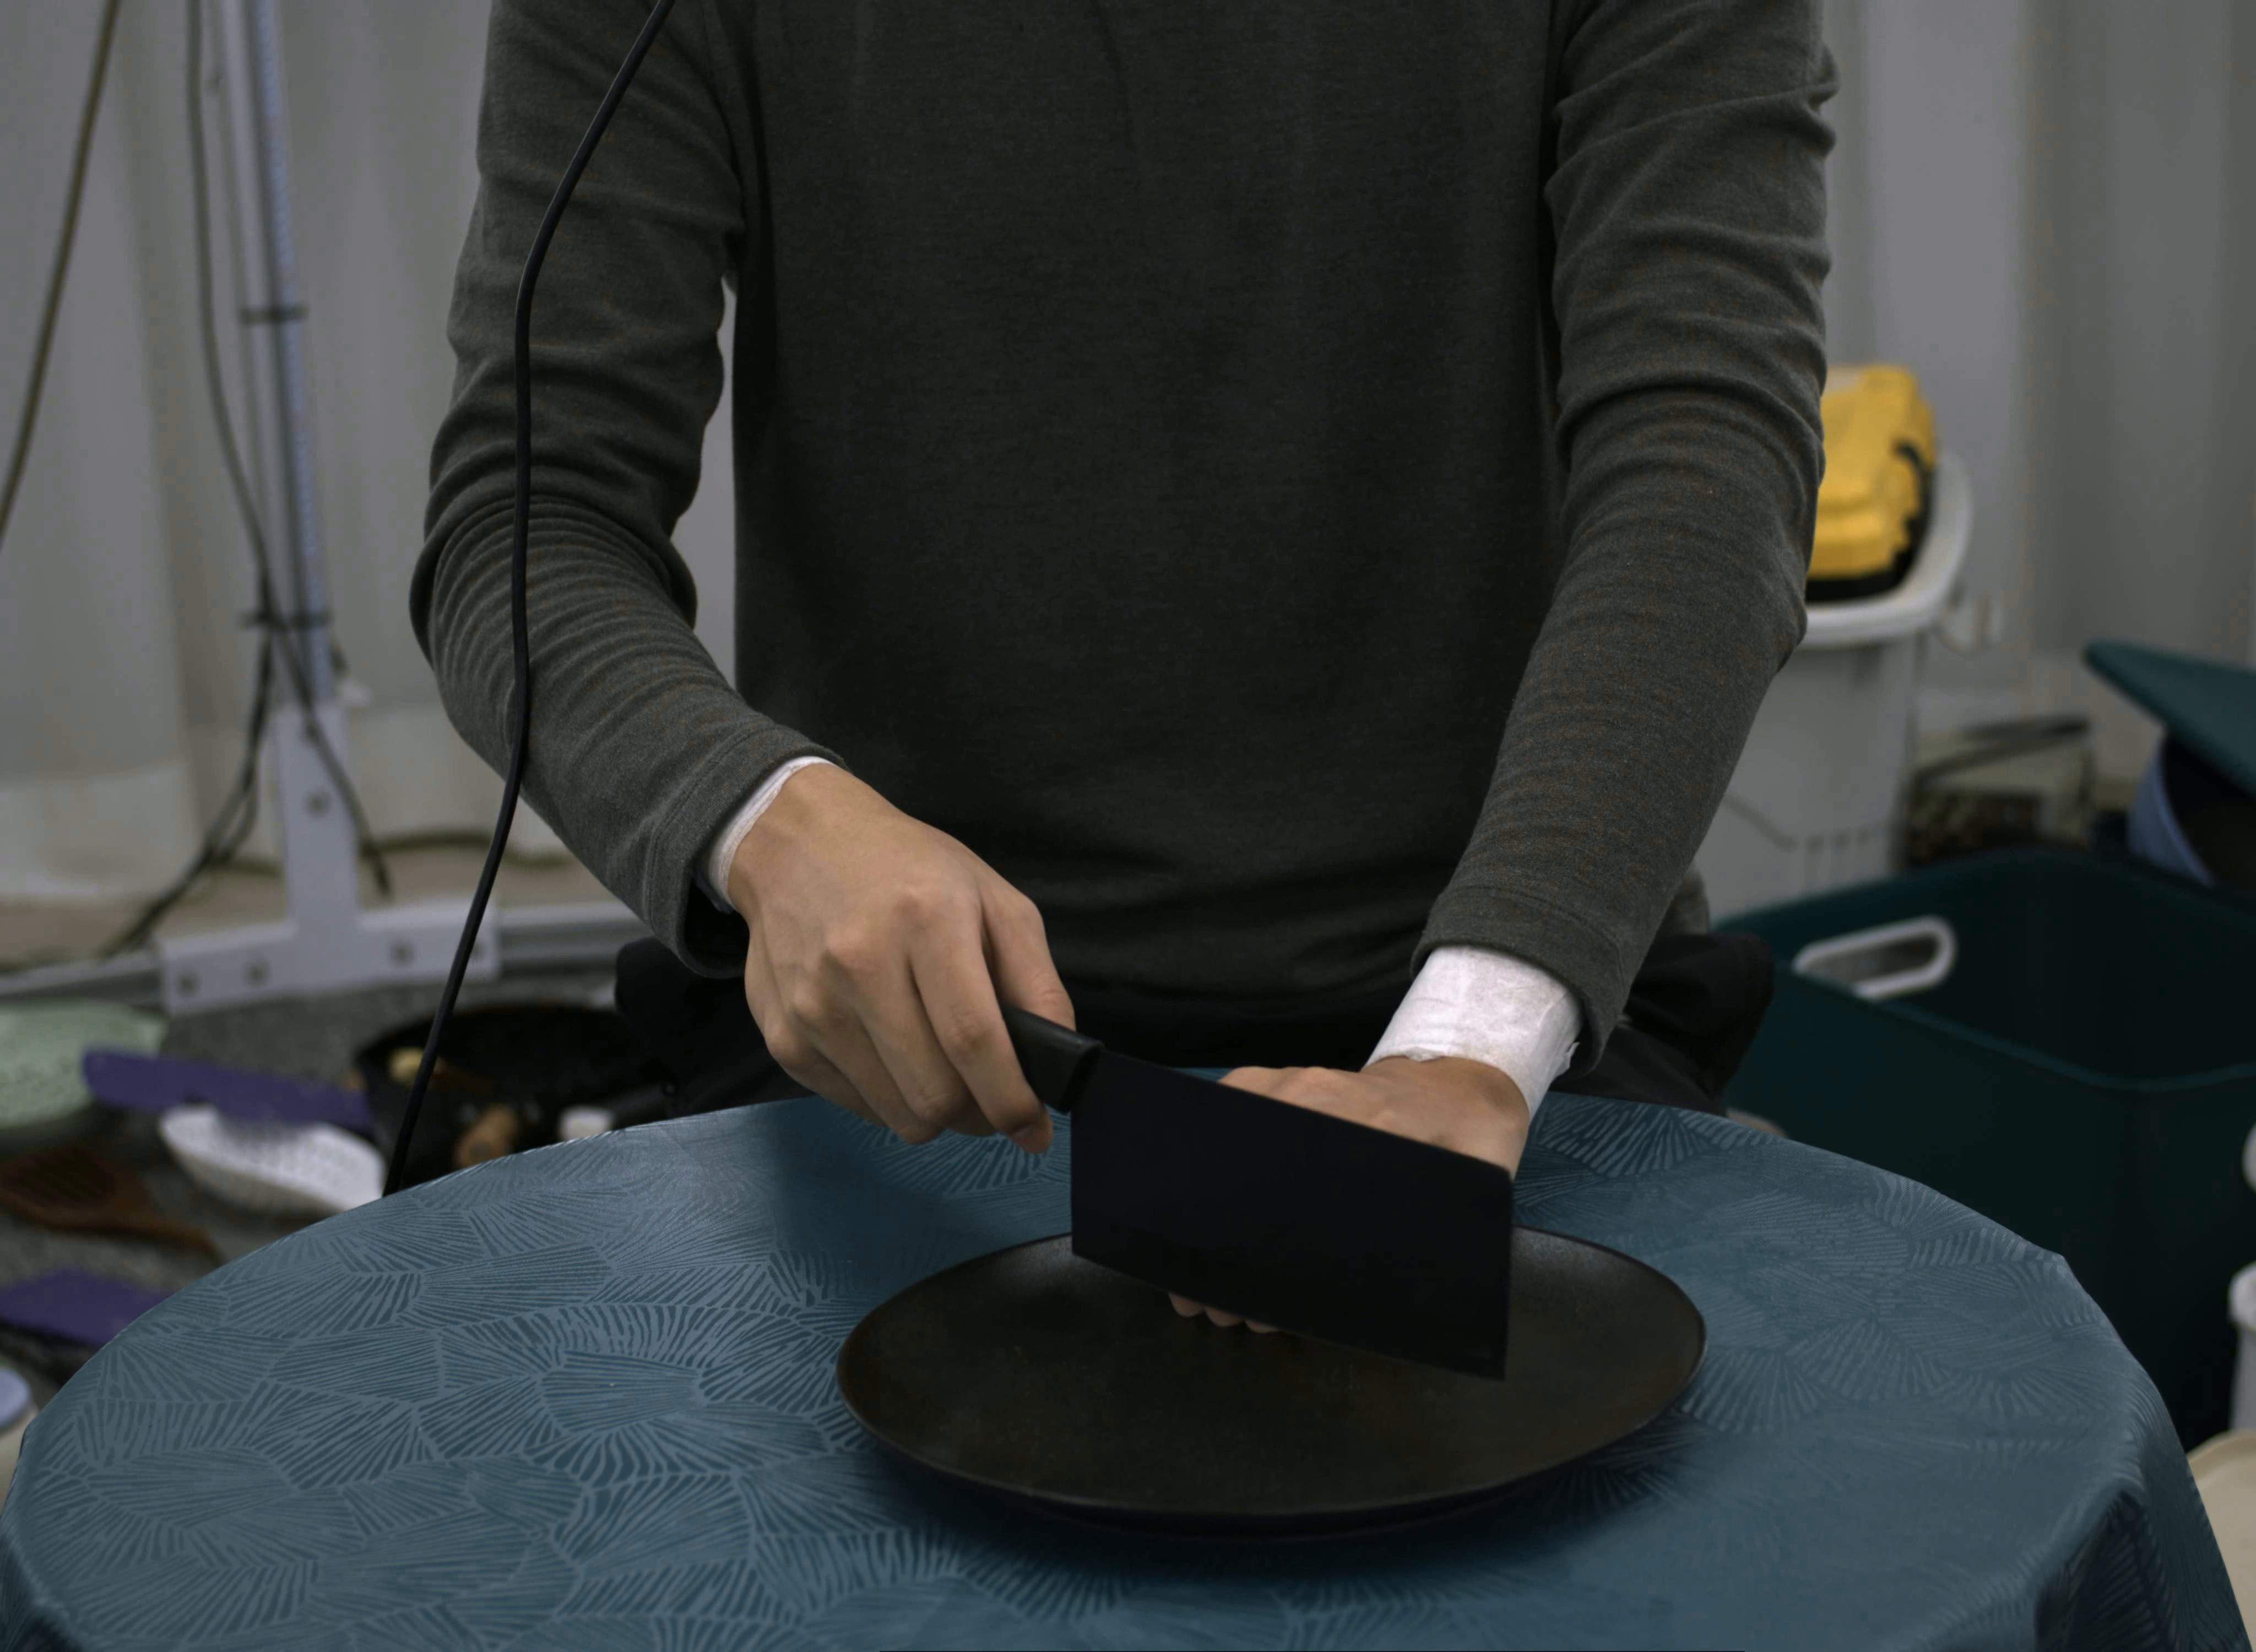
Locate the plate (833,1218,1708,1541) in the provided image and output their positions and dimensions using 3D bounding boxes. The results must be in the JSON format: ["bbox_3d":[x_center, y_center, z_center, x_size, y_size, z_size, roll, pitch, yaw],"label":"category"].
[{"bbox_3d":[0.040,0.154,1.517,0.243,0.023,0.246,-3,15,0],"label":"plate"}]

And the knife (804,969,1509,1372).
[{"bbox_3d":[0.004,0.093,1.572,0.021,0.080,0.304,-6,17,-40],"label":"knife"}]
